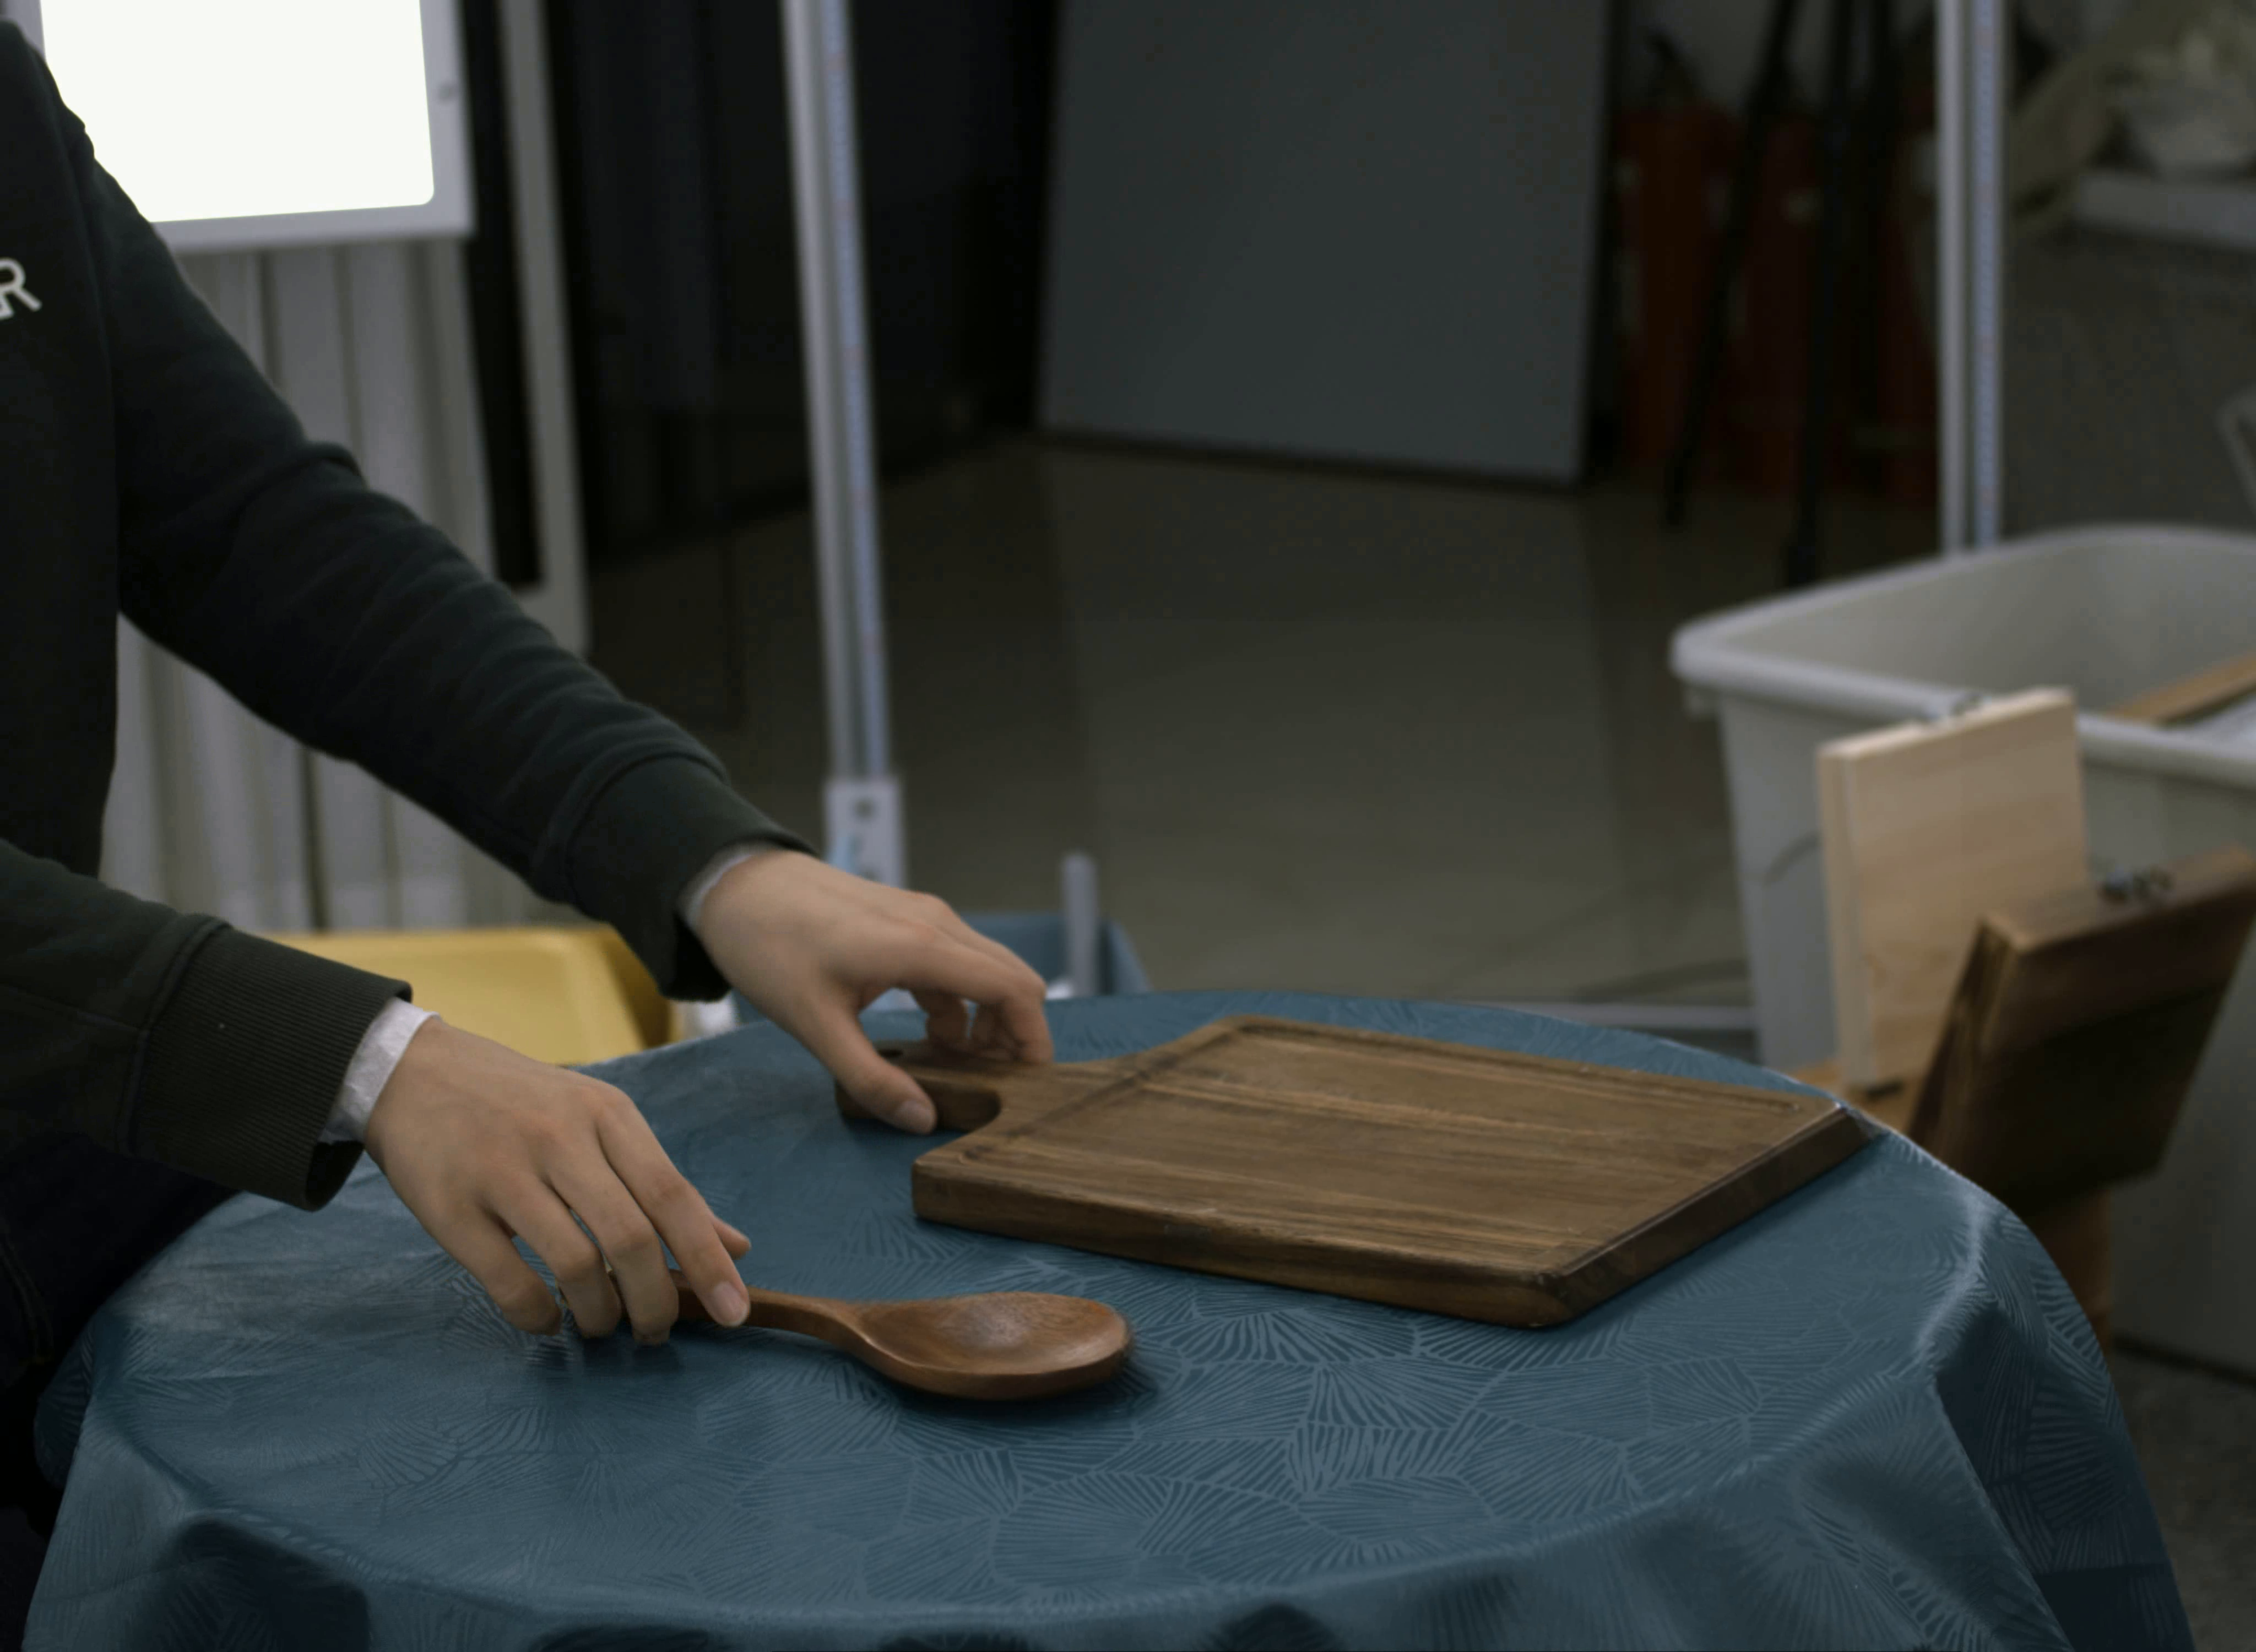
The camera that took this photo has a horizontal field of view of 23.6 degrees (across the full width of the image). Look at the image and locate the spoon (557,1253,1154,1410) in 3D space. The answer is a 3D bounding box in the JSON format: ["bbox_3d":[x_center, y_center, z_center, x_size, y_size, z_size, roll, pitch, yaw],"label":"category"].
[{"bbox_3d":[-0.086,0.152,1.637,0.217,0.017,0.074,6,19,34],"label":"spoon"}]

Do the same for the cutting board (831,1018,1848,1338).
[{"bbox_3d":[0.043,0.106,1.784,0.354,0.023,0.197,6,18,37],"label":"cutting board"}]
